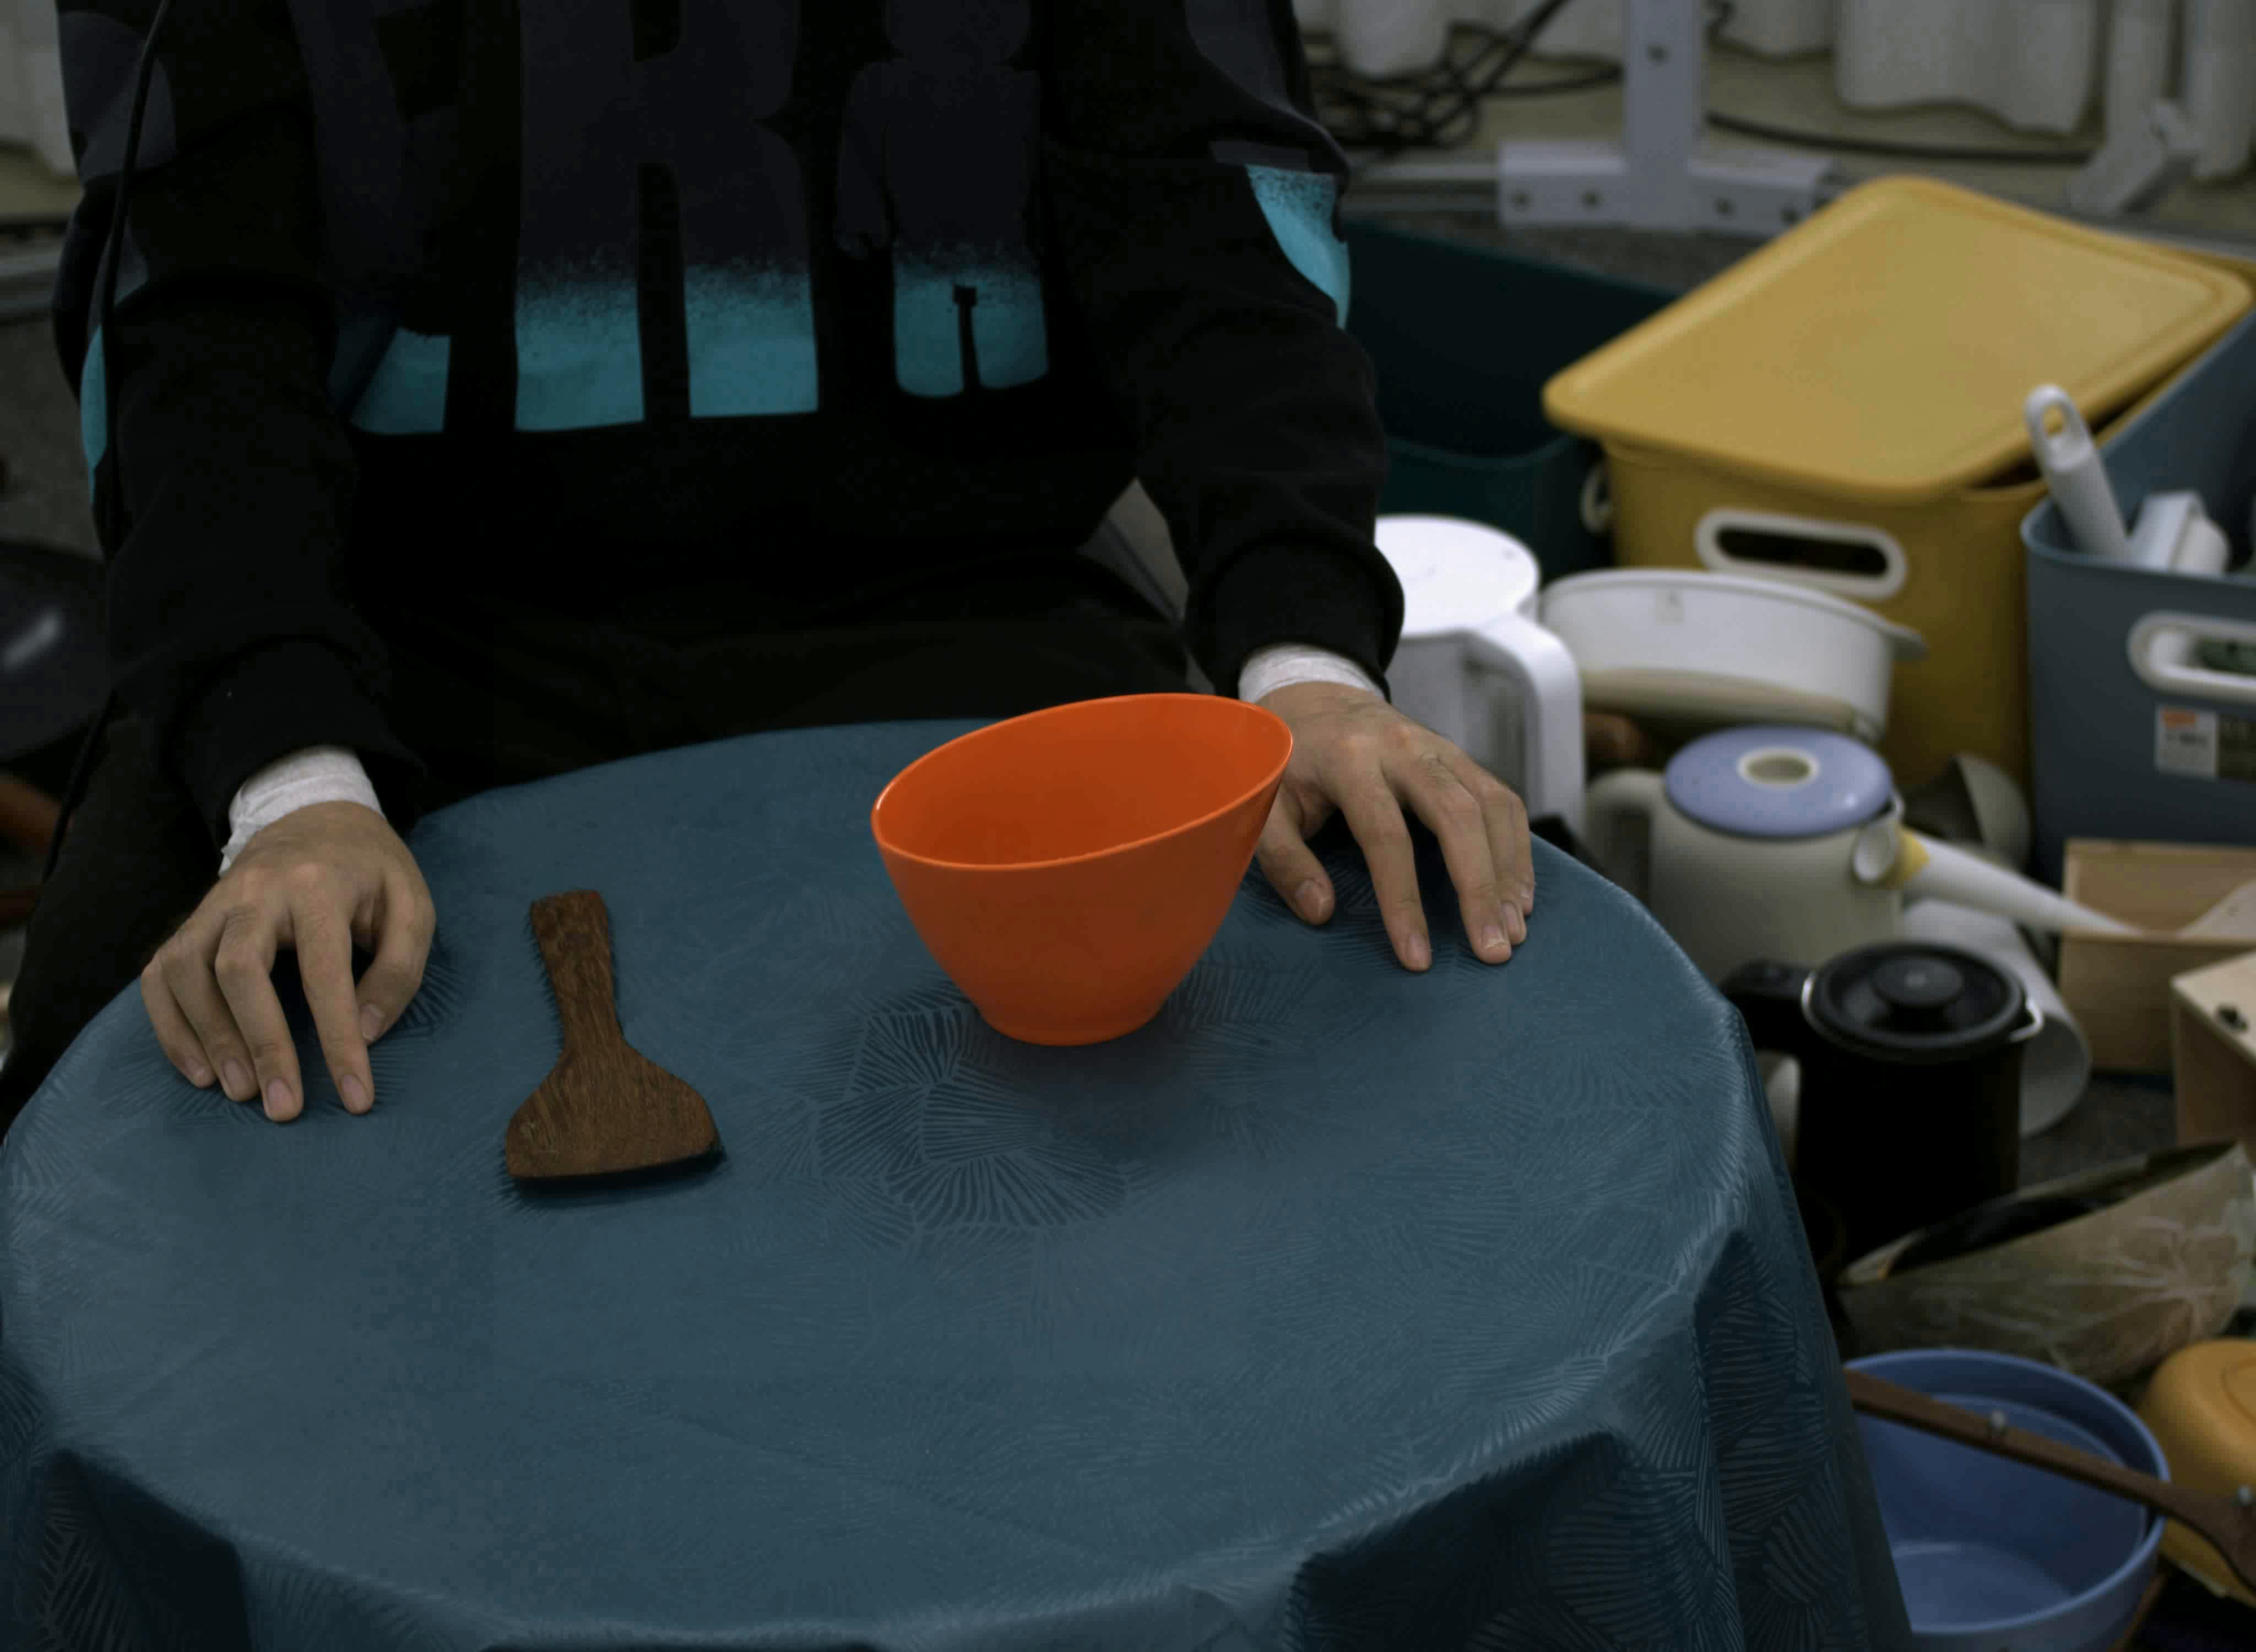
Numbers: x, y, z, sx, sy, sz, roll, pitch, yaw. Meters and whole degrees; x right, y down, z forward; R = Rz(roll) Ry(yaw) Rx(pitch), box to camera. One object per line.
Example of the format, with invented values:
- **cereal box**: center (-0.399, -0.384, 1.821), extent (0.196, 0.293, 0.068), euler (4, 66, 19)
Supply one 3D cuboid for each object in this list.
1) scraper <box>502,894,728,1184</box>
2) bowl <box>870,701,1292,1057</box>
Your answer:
- **scraper**: center (-0.187, 0.074, 1.965), extent (0.075, 0.011, 0.214), euler (-6, 27, -8)
- **bowl**: center (-0.014, 0.022, 1.950), extent (0.147, 0.103, 0.150), euler (-4, 26, 2)
